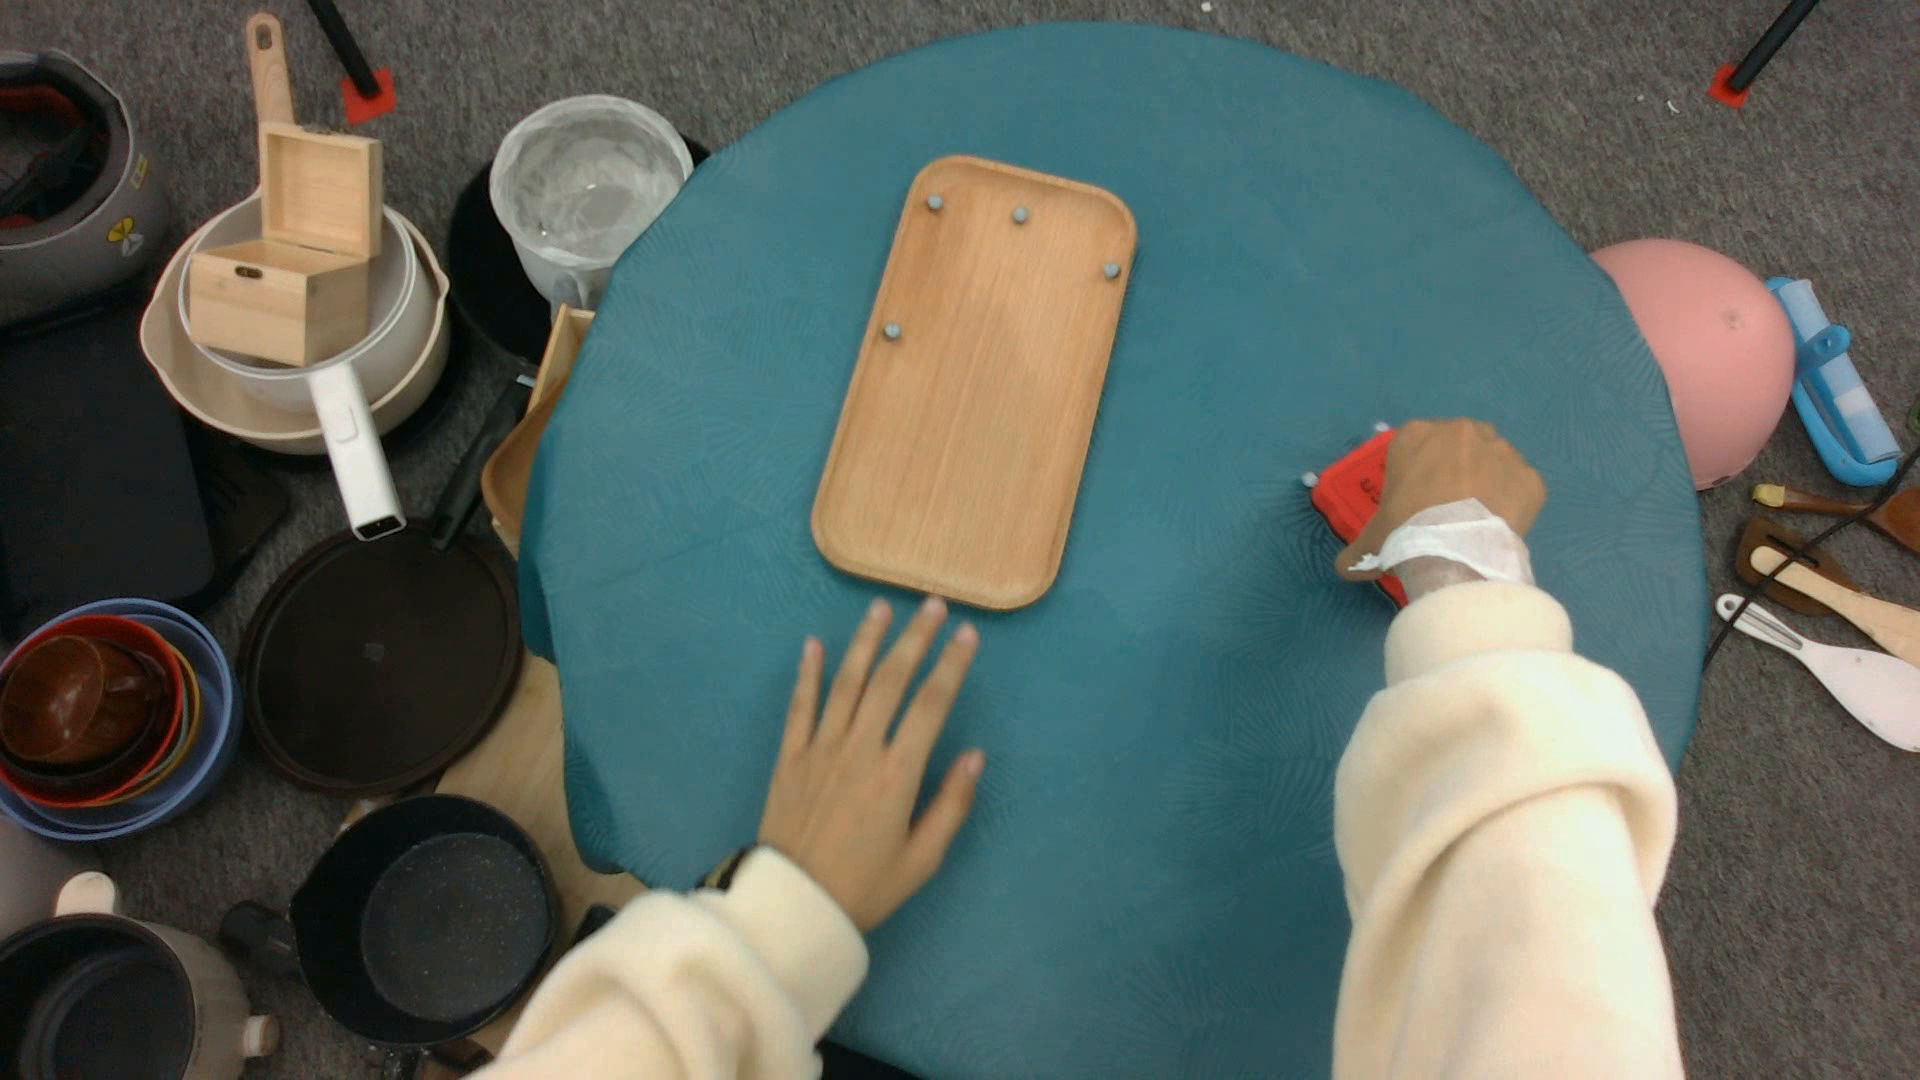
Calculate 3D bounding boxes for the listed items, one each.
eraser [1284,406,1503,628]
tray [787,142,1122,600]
[{"bbox_3d":[0.219,-0.013,0.701,0.059,0.023,0.108,-35,76,-12],"label":"eraser"},{"bbox_3d":[0.001,-0.093,0.718,0.130,0.023,0.251,15,70,4],"label":"tray"}]
